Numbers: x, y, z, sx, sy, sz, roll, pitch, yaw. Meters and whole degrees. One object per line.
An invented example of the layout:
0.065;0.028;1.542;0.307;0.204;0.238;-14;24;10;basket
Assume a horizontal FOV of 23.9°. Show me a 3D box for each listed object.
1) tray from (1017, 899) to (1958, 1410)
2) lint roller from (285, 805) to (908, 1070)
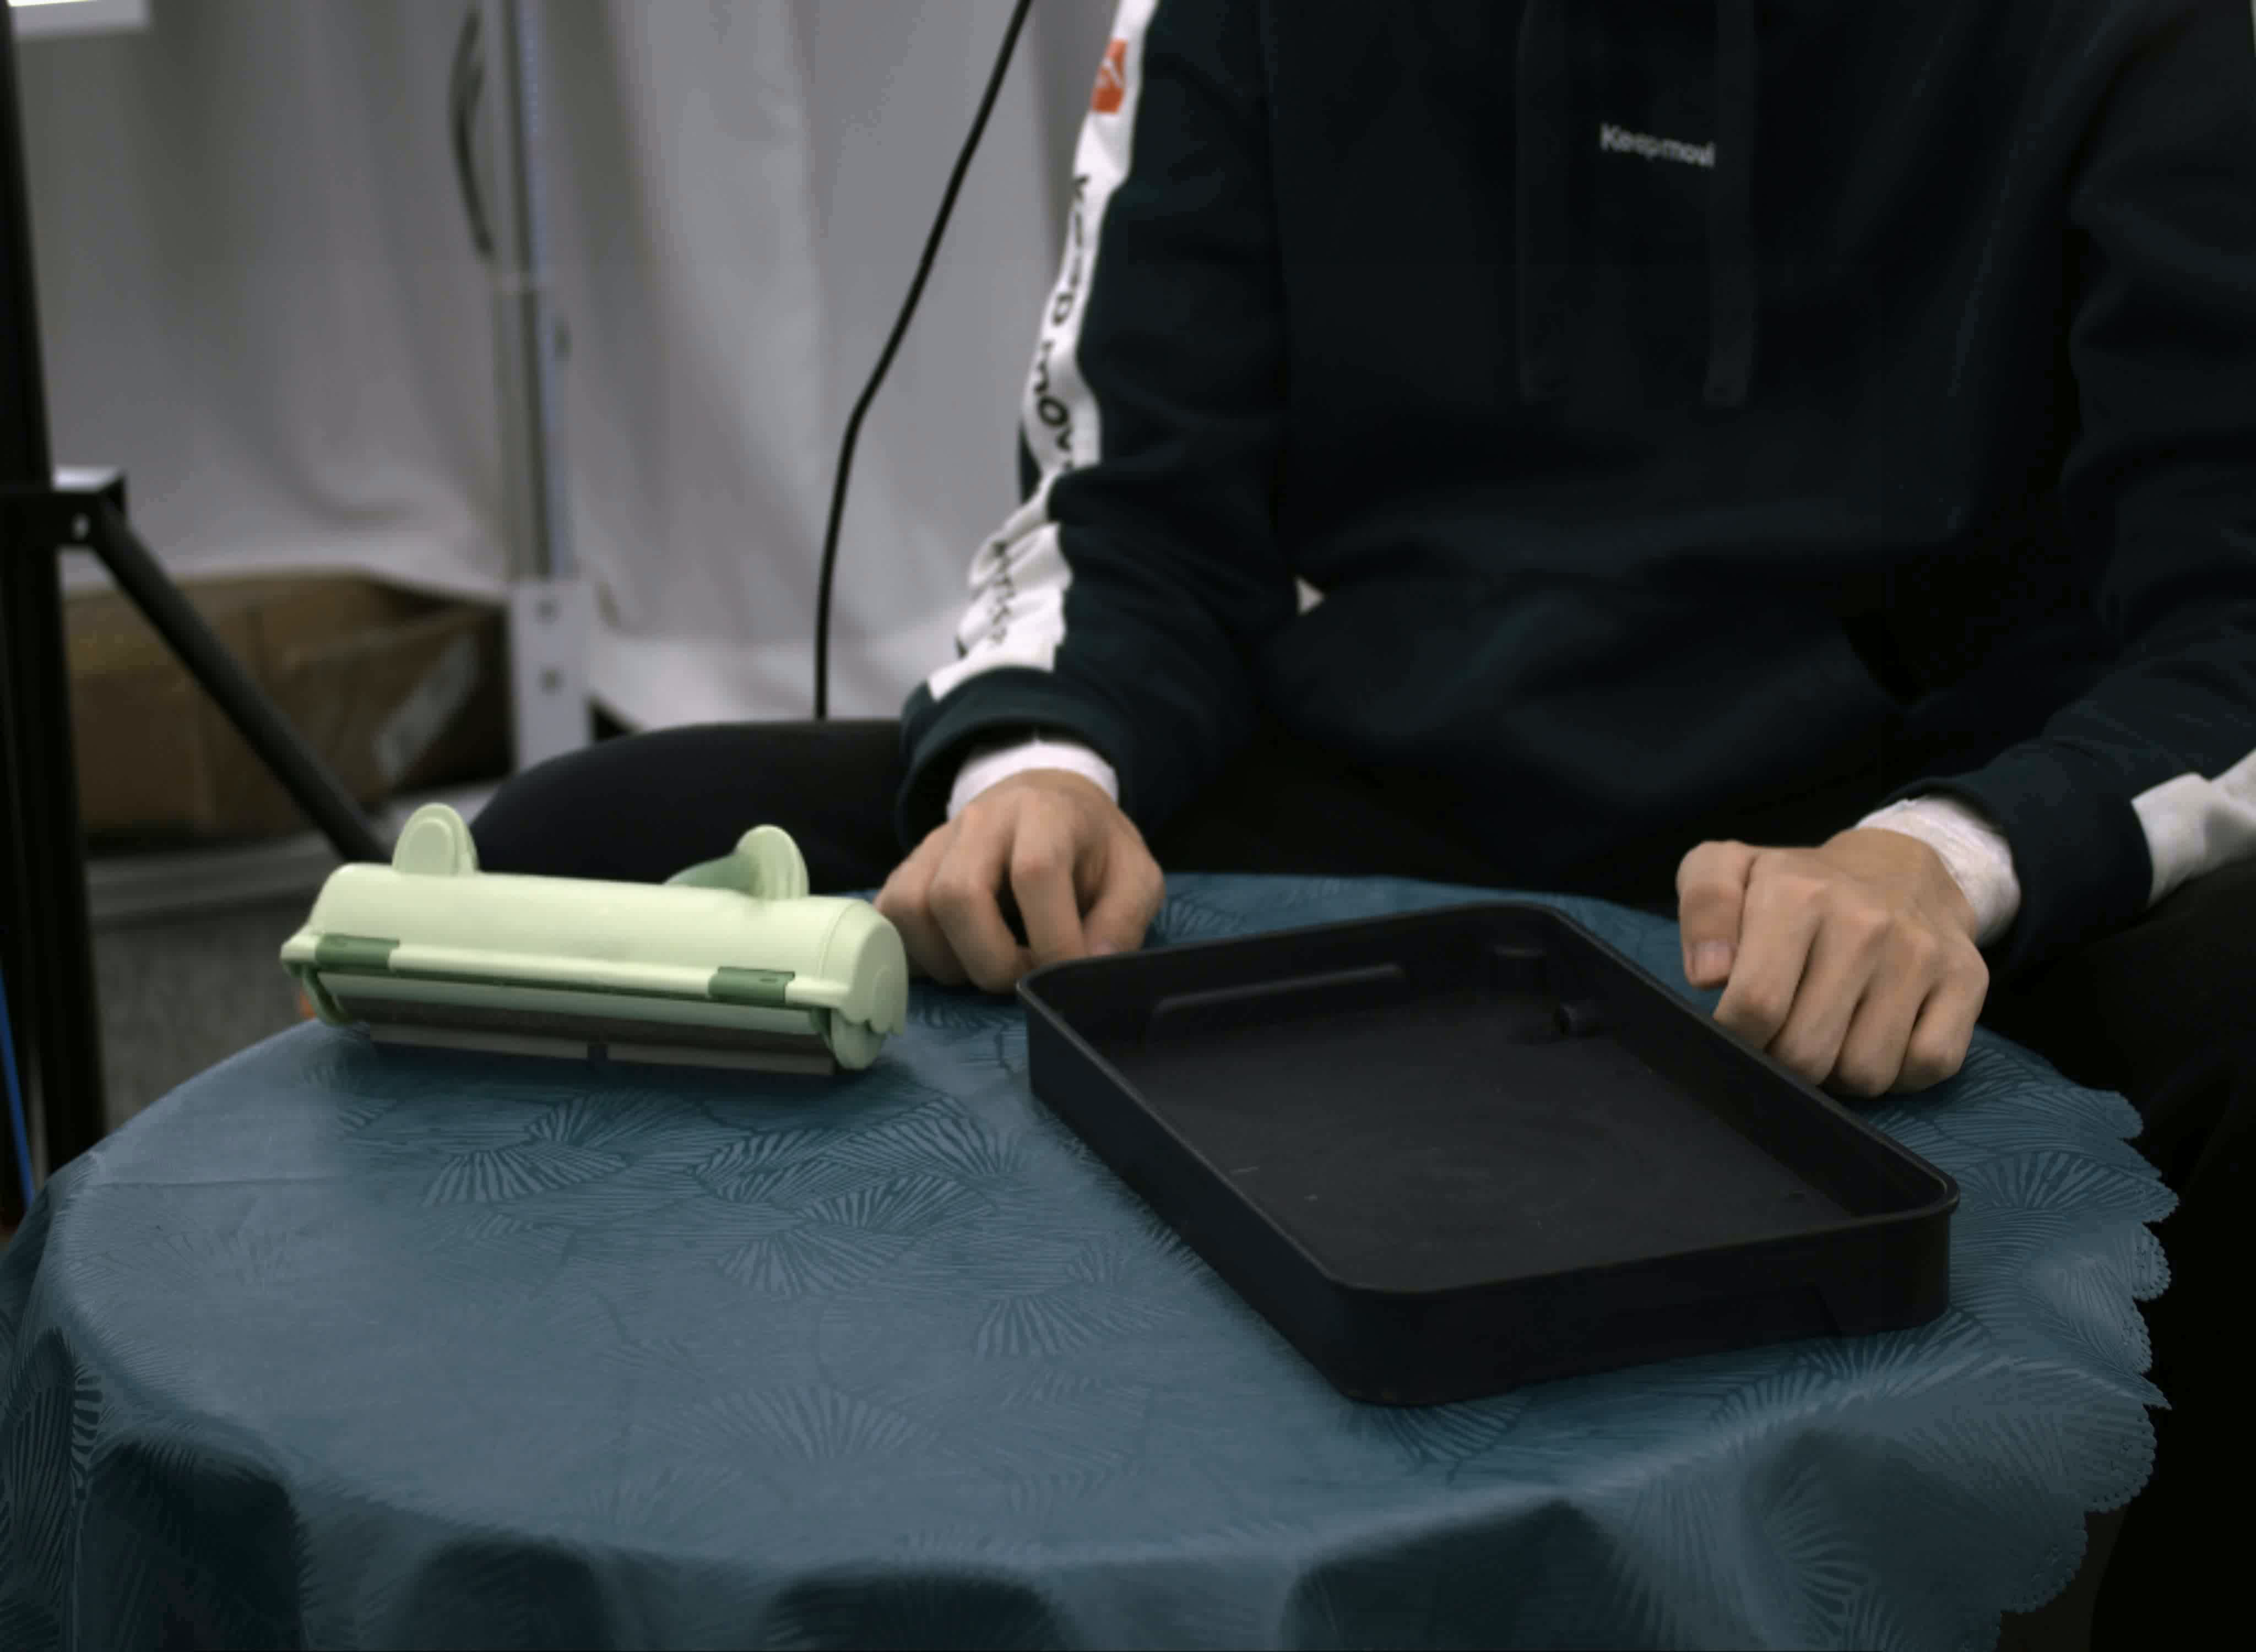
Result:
0.096;0.089;1.542;0.181;0.037;0.323;-7;16;-16;tray
-0.151;0.020;1.747;0.201;0.082;0.181;3;20;21;lint roller
